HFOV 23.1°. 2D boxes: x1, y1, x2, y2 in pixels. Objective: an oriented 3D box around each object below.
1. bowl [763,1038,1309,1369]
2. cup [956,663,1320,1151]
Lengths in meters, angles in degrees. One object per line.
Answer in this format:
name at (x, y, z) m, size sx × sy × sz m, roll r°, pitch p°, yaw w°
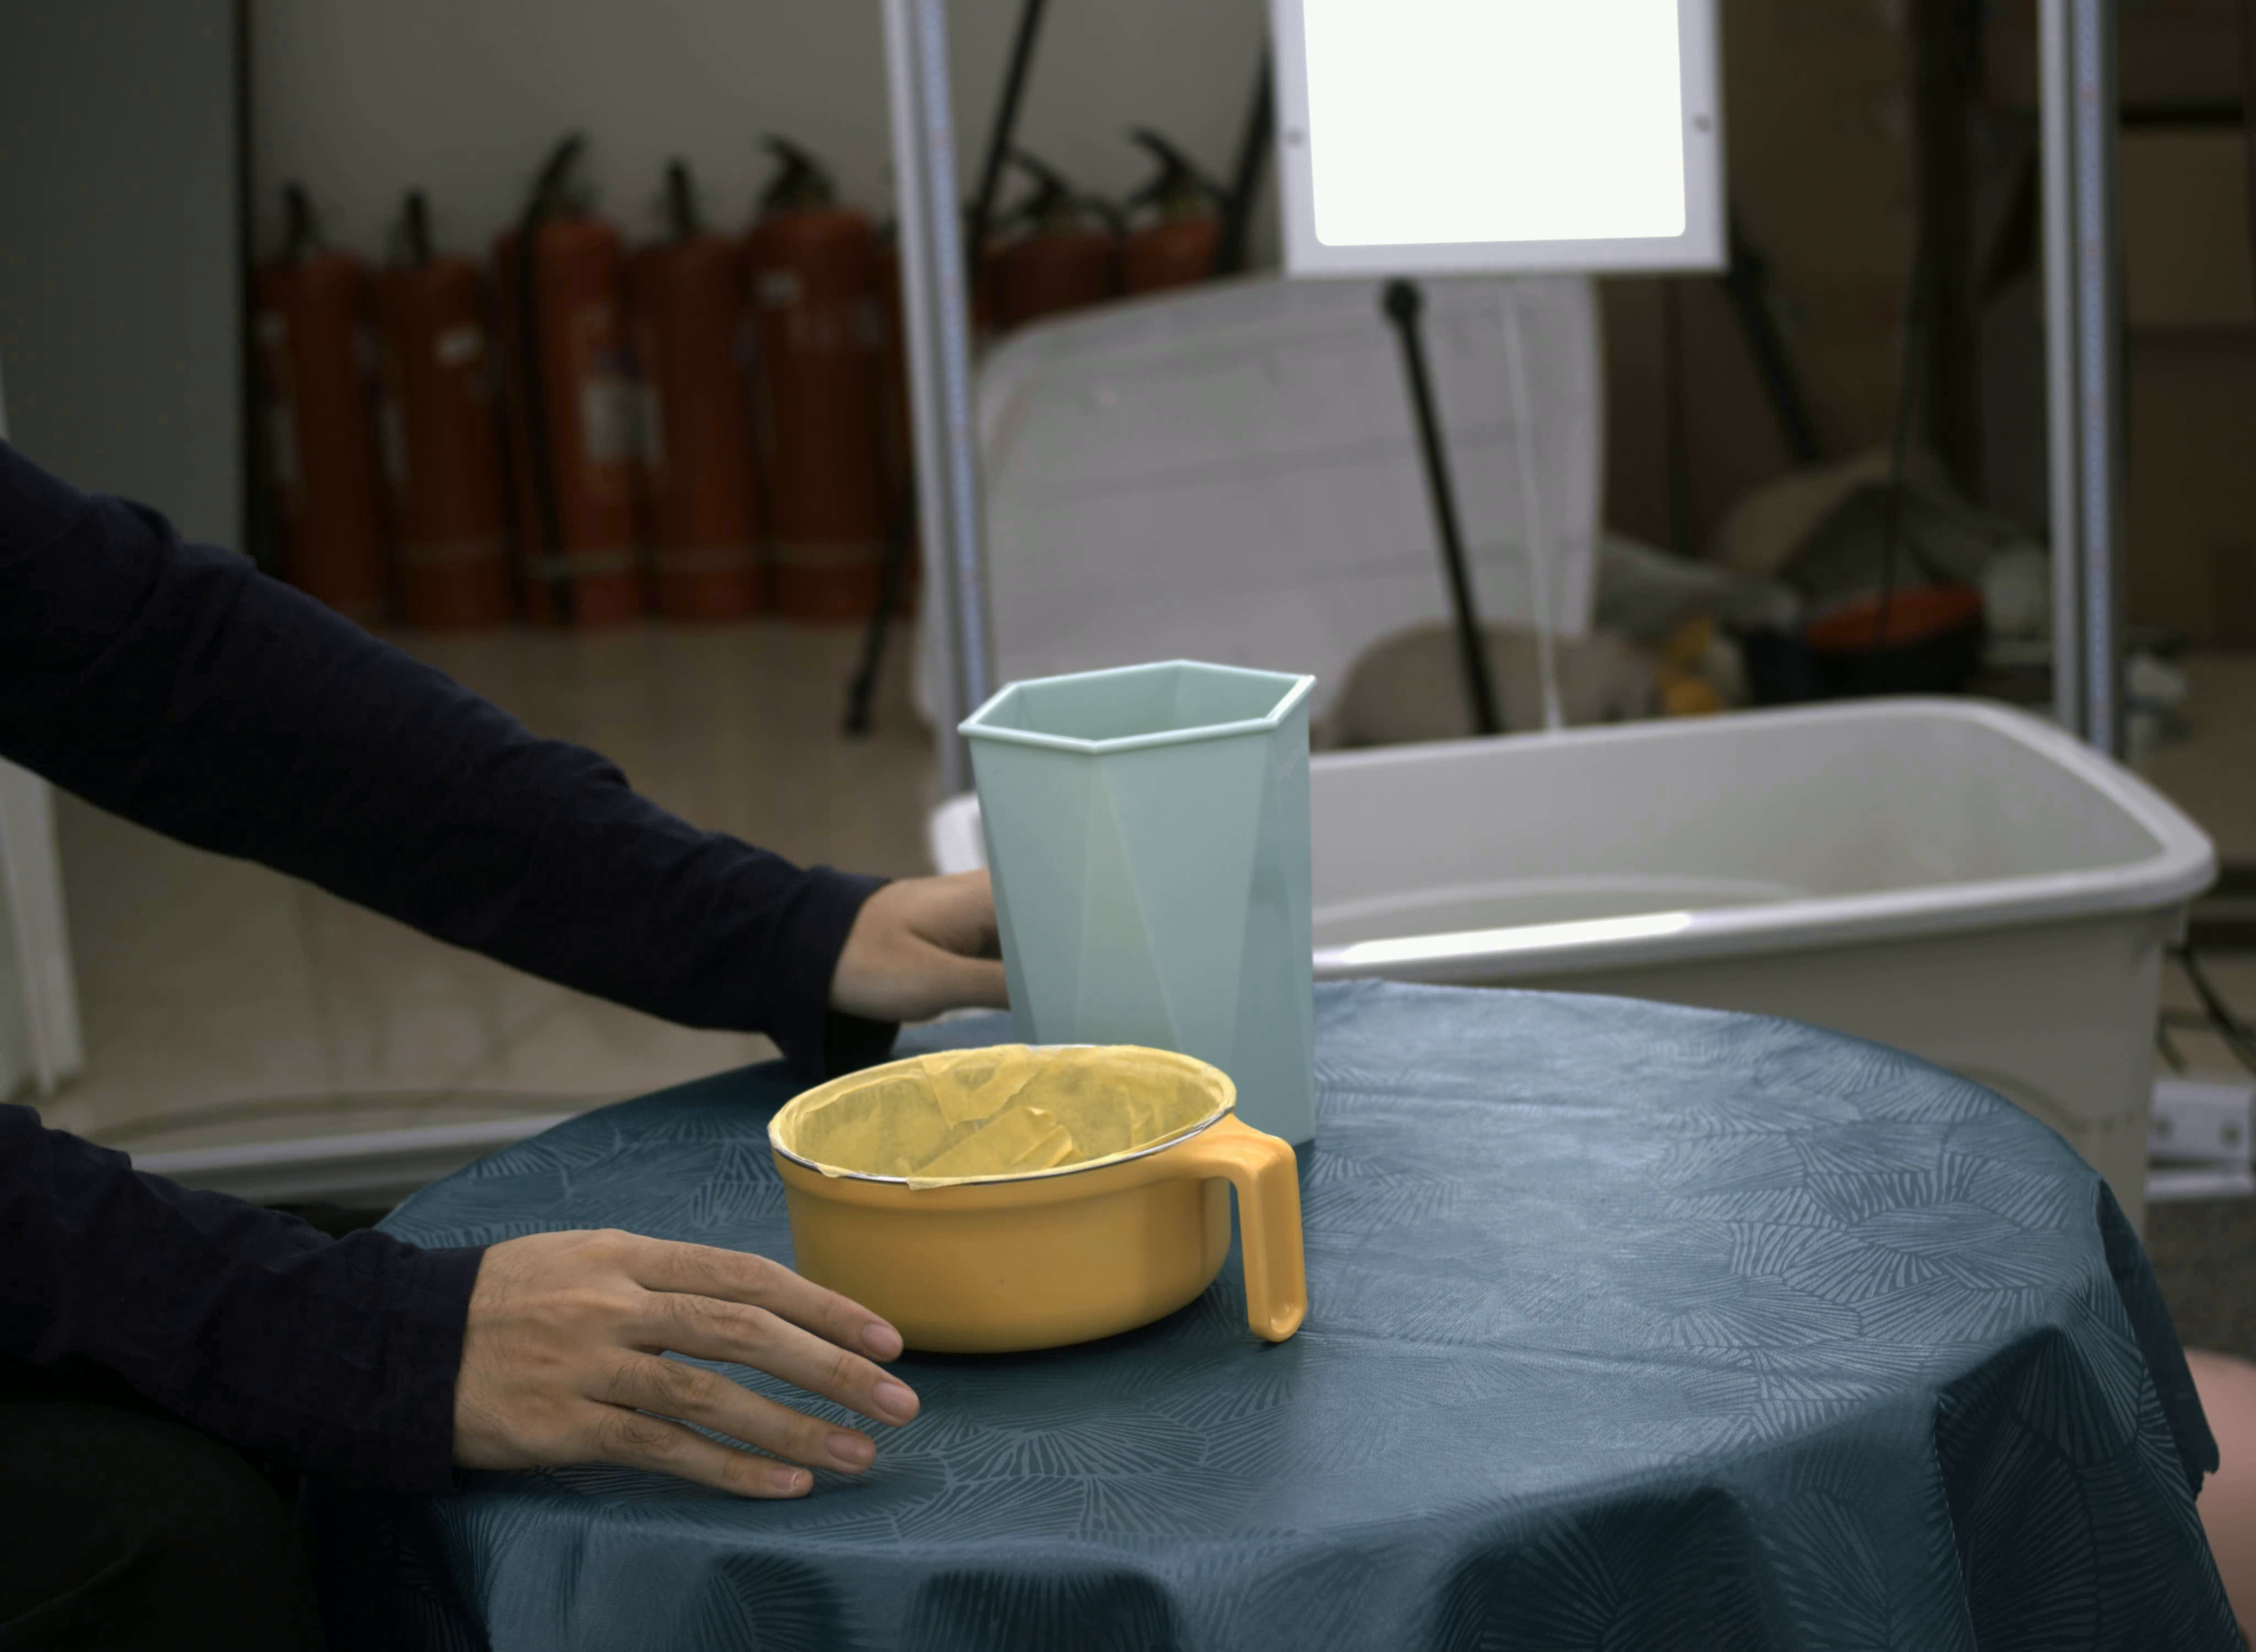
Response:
bowl at (-0.027, 0.125, 1.777) m, size 0.183 × 0.074 × 0.149 m, roll 0°, pitch 15°, yaw 31°
cup at (0.011, 0.033, 1.935) m, size 0.116 × 0.163 × 0.129 m, roll -4°, pitch 12°, yaw 13°
